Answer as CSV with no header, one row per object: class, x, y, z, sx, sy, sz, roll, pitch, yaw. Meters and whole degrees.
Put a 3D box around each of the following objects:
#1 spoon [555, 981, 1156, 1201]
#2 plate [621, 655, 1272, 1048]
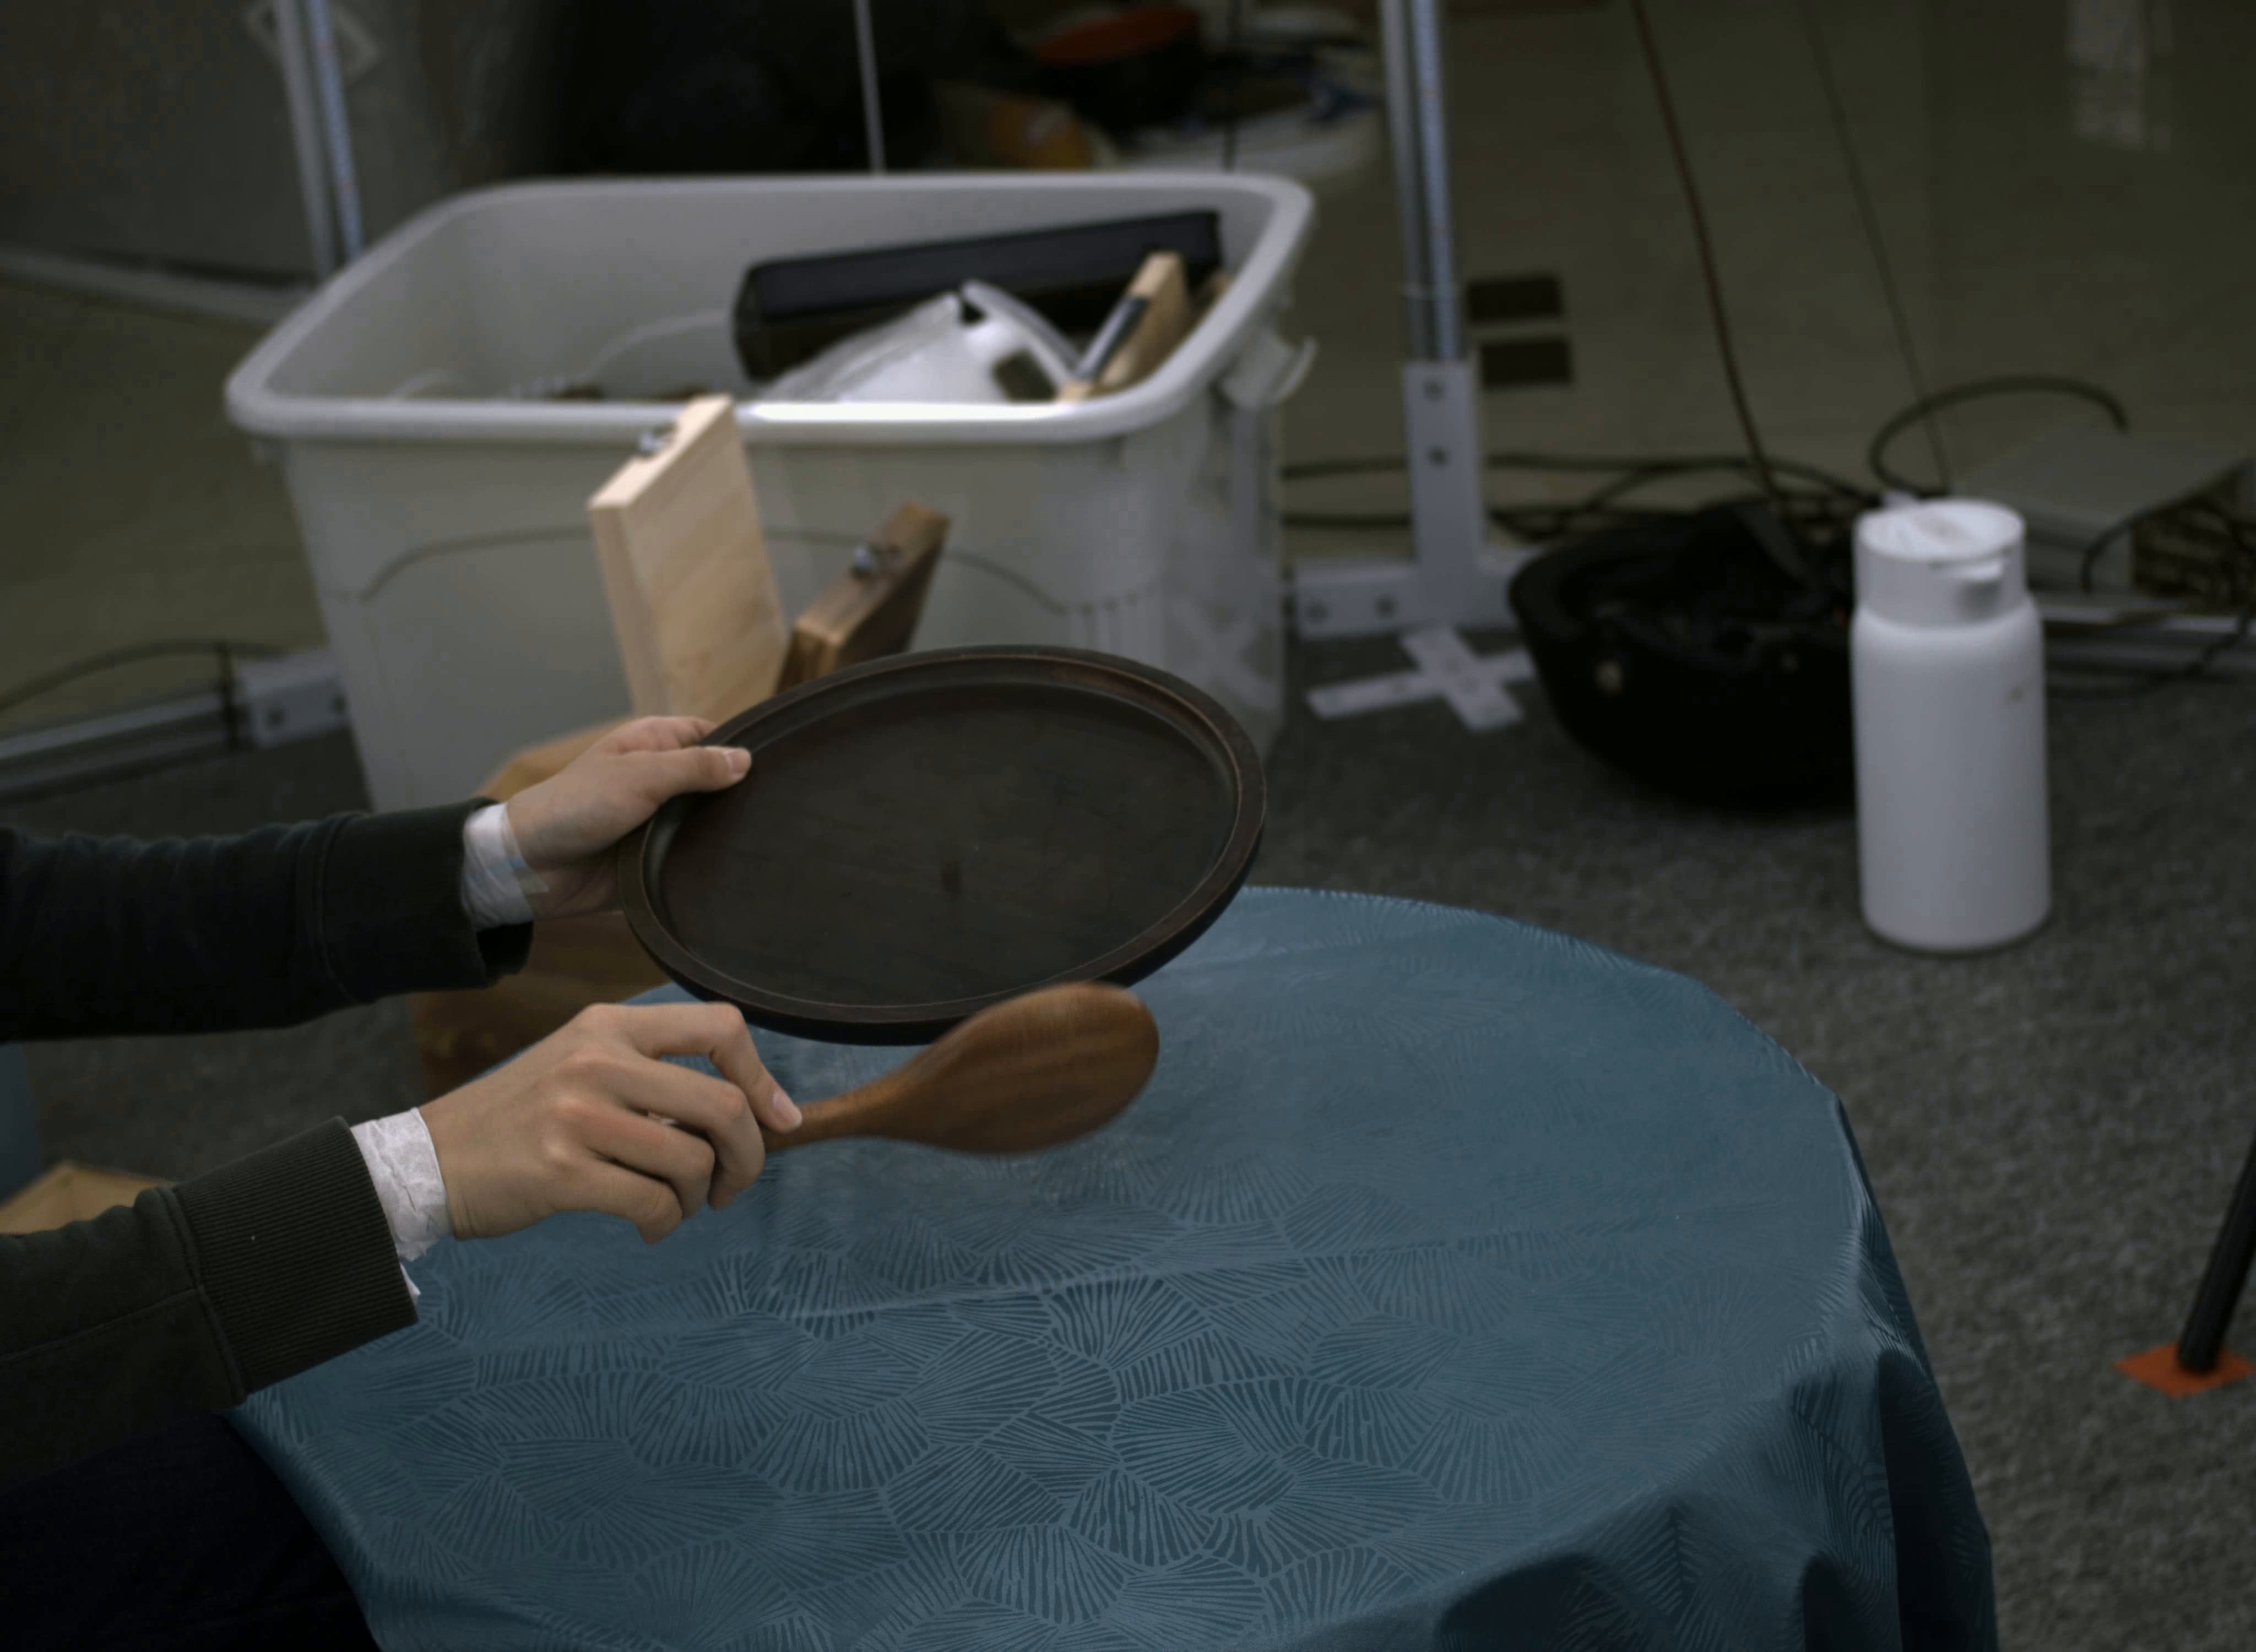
spoon,-0.089,0.095,1.909,0.215,0.077,0.017,-11,49,-18
plate,-0.070,0.008,2.182,0.254,0.029,0.250,-5,34,4
